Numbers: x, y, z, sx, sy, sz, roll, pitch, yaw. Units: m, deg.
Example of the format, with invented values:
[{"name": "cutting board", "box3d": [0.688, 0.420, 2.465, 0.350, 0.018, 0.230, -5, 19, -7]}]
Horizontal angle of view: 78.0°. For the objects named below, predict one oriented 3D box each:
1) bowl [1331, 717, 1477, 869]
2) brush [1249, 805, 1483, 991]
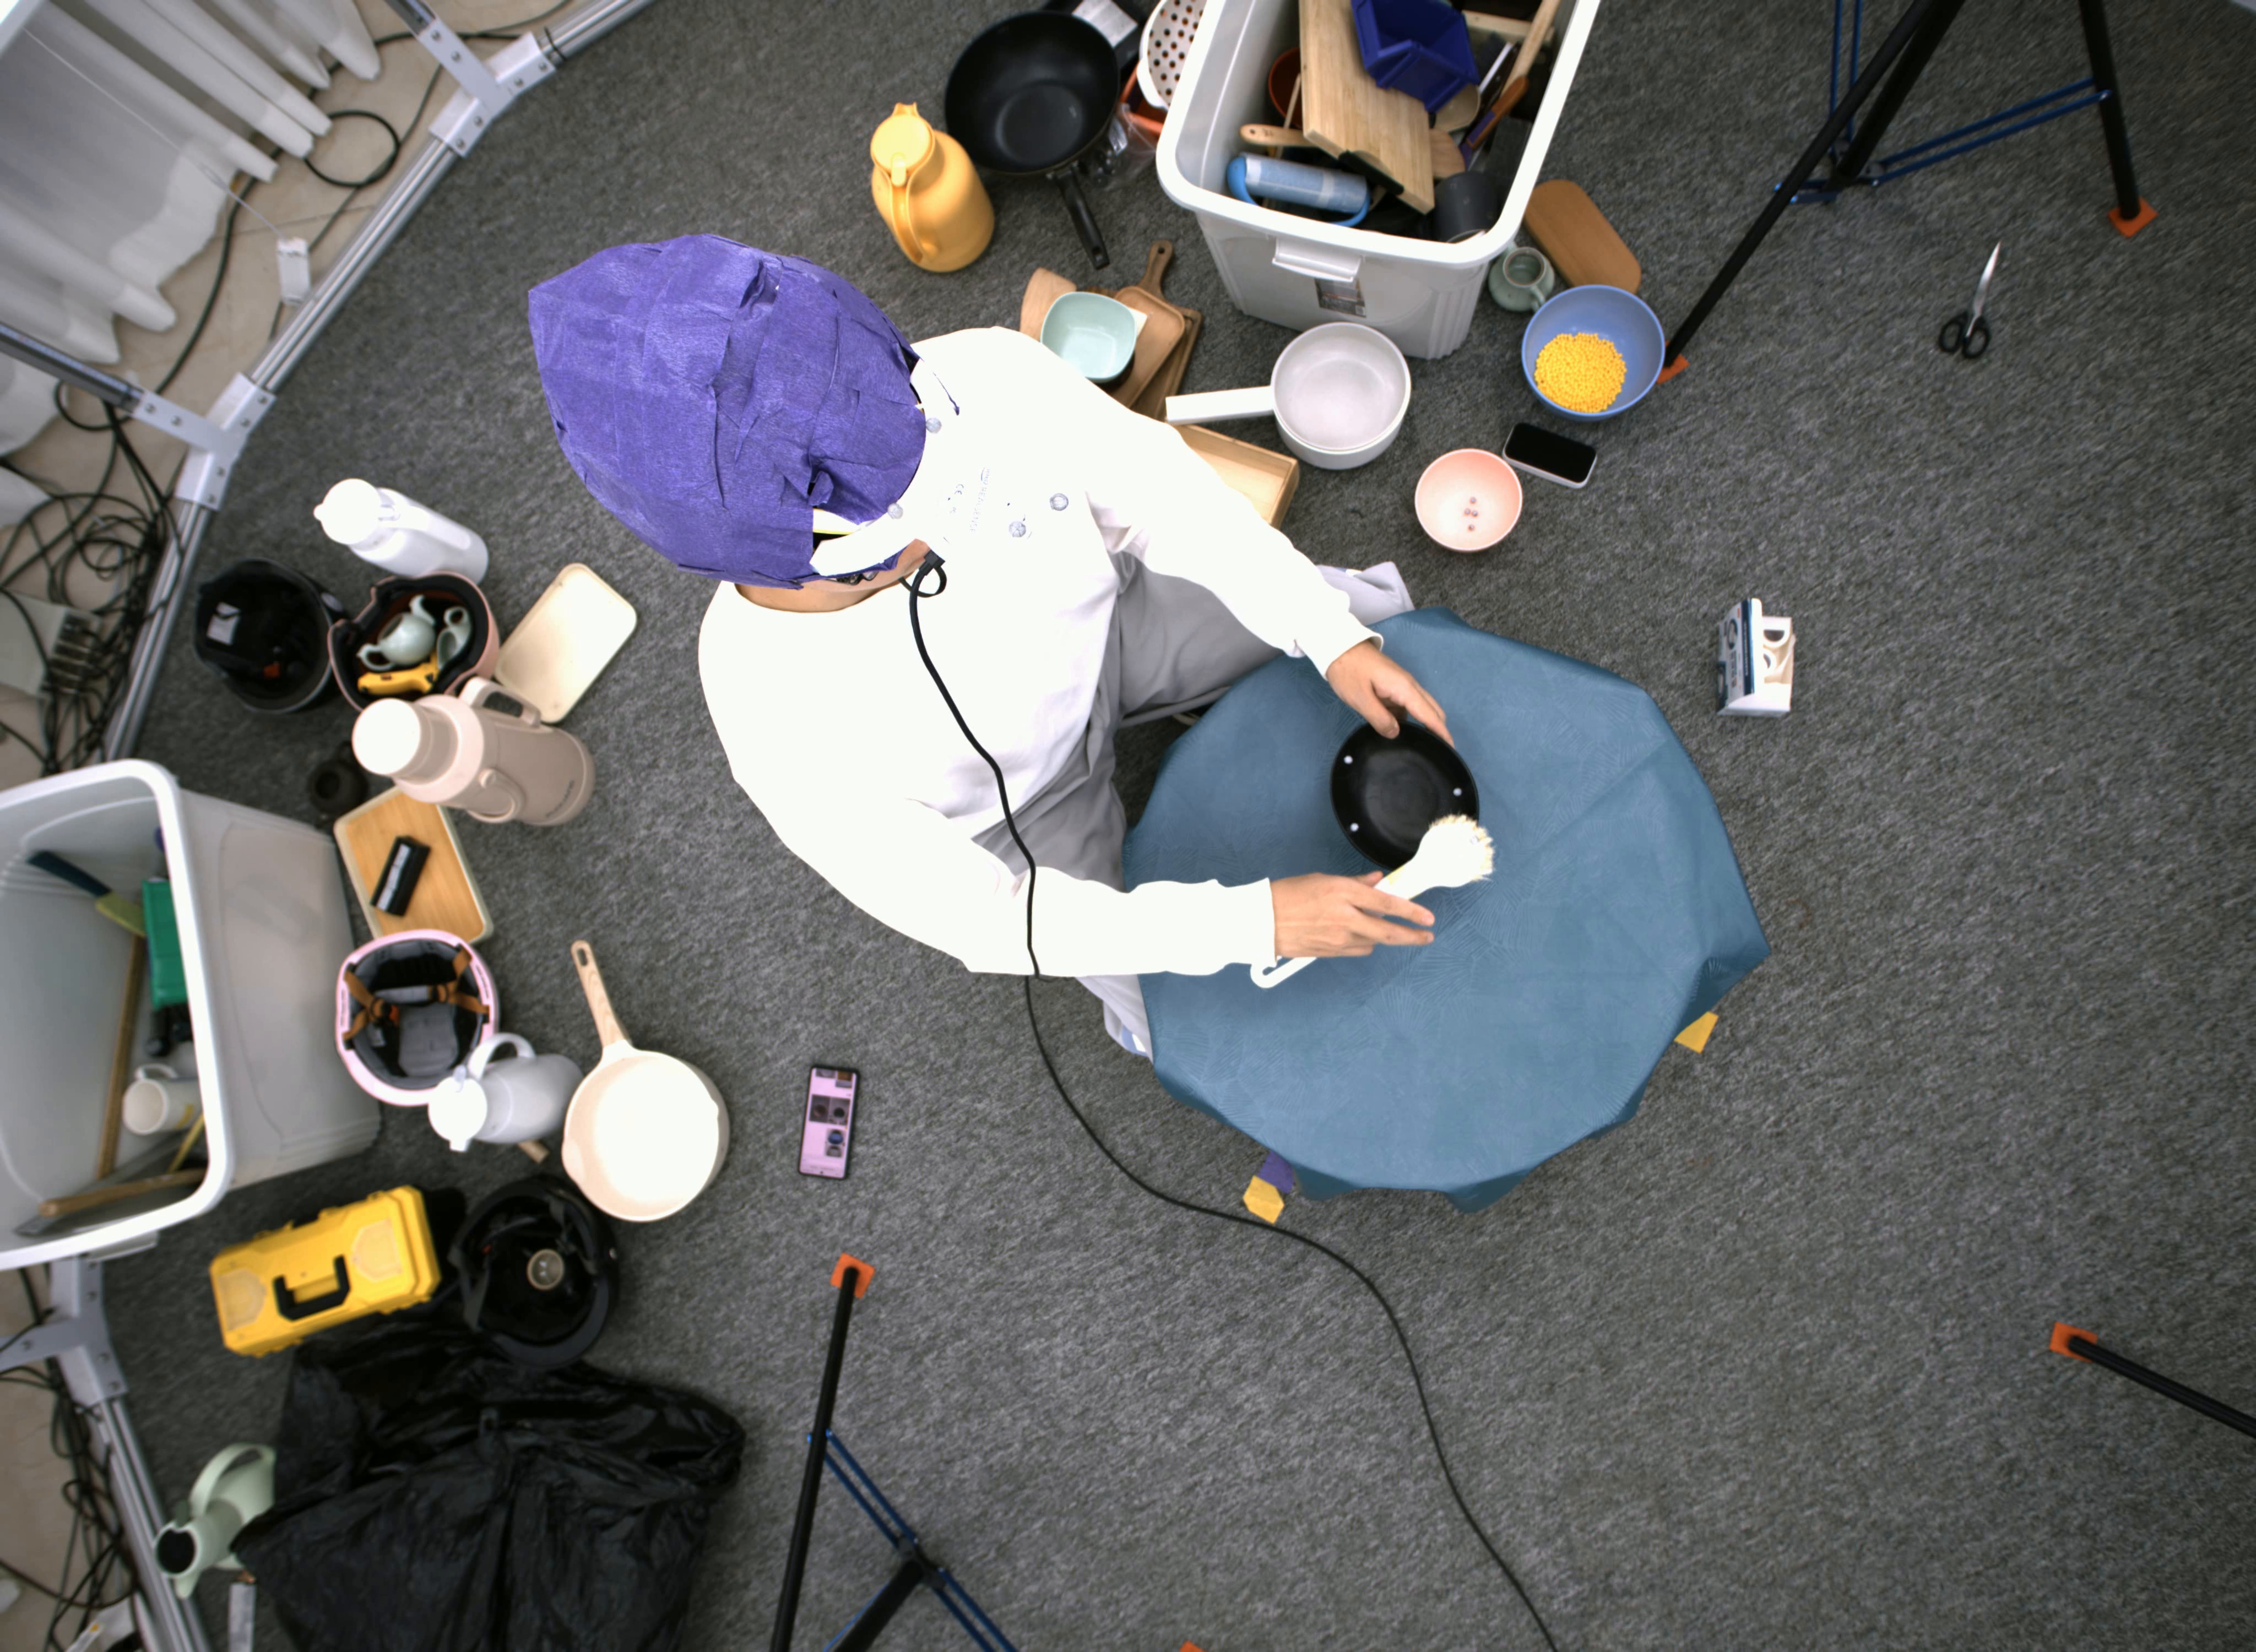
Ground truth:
[{"name": "bowl", "box3d": [0.280, -0.030, 1.380, 0.139, 0.066, 0.168, -43, 69, 20]}, {"name": "brush", "box3d": [0.228, 0.072, 1.342, 0.270, 0.055, 0.068, -39, 81, 18]}]
